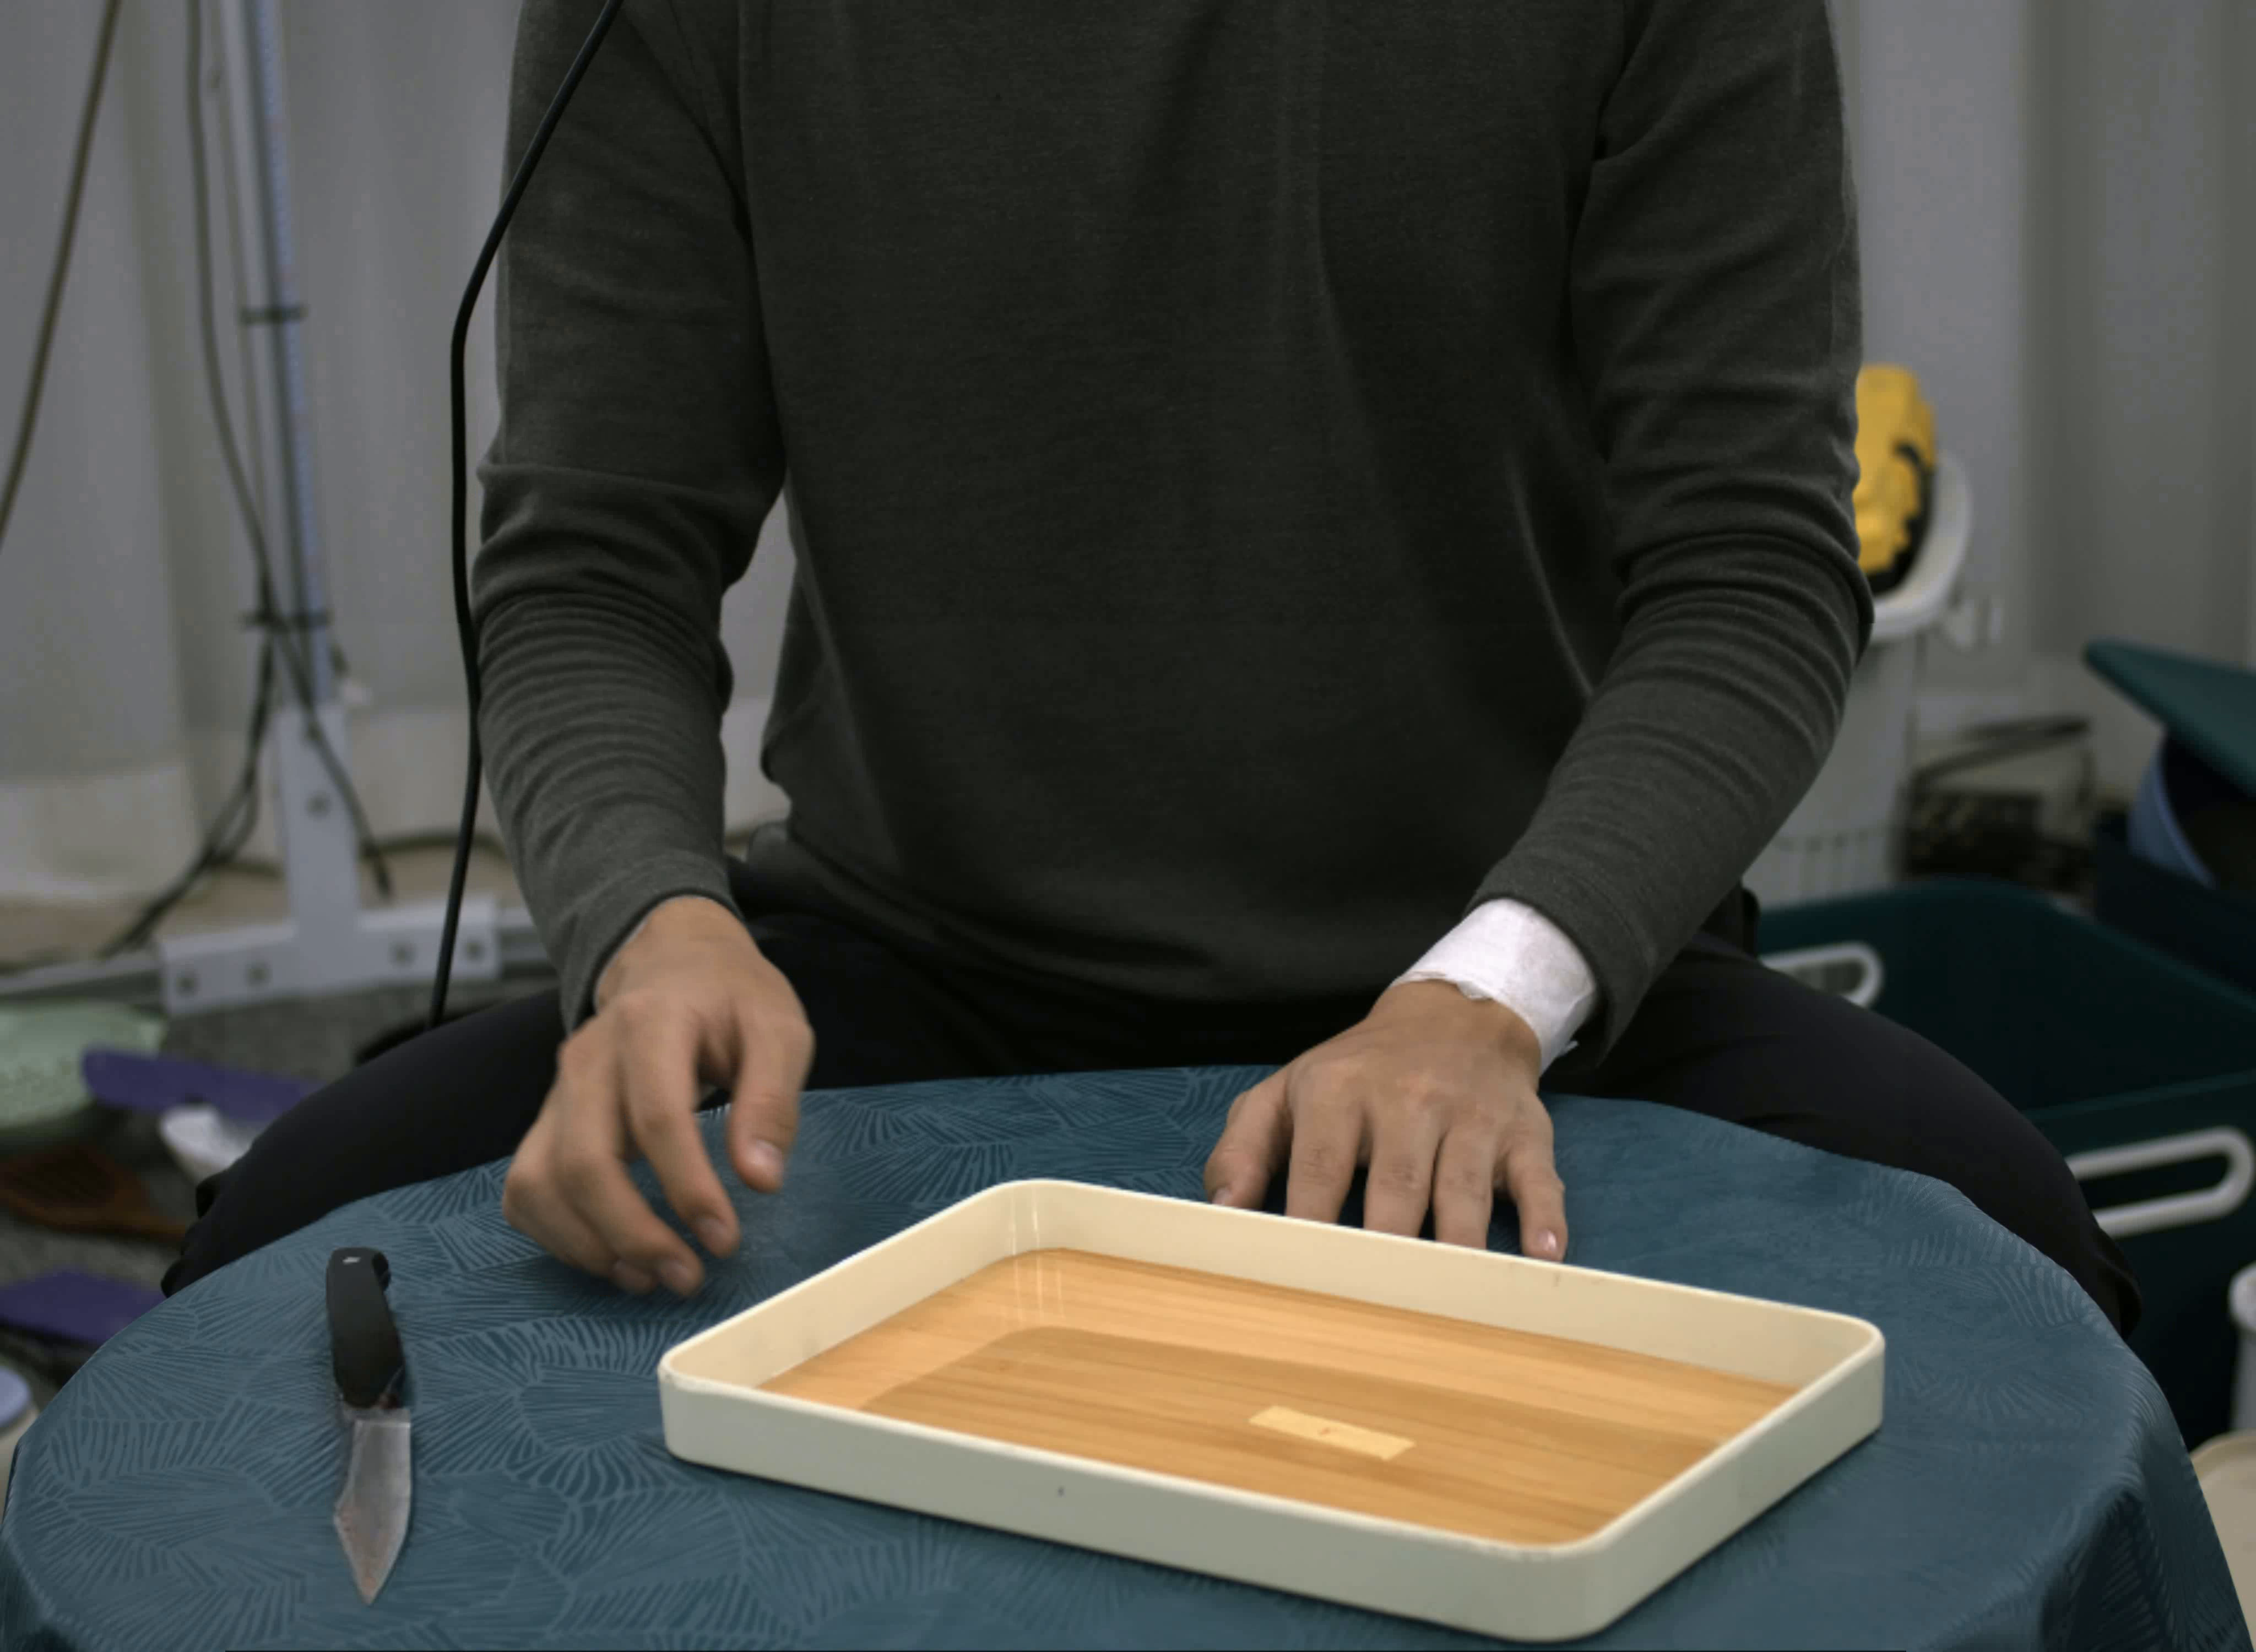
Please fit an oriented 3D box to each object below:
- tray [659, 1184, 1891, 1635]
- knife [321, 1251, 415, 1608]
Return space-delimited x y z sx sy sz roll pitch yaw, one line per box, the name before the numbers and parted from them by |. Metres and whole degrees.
tray | 0.039 0.156 1.504 0.301 0.027 0.191 7 17 34
knife | -0.214 0.168 1.532 0.024 0.016 0.240 -7 18 -7
